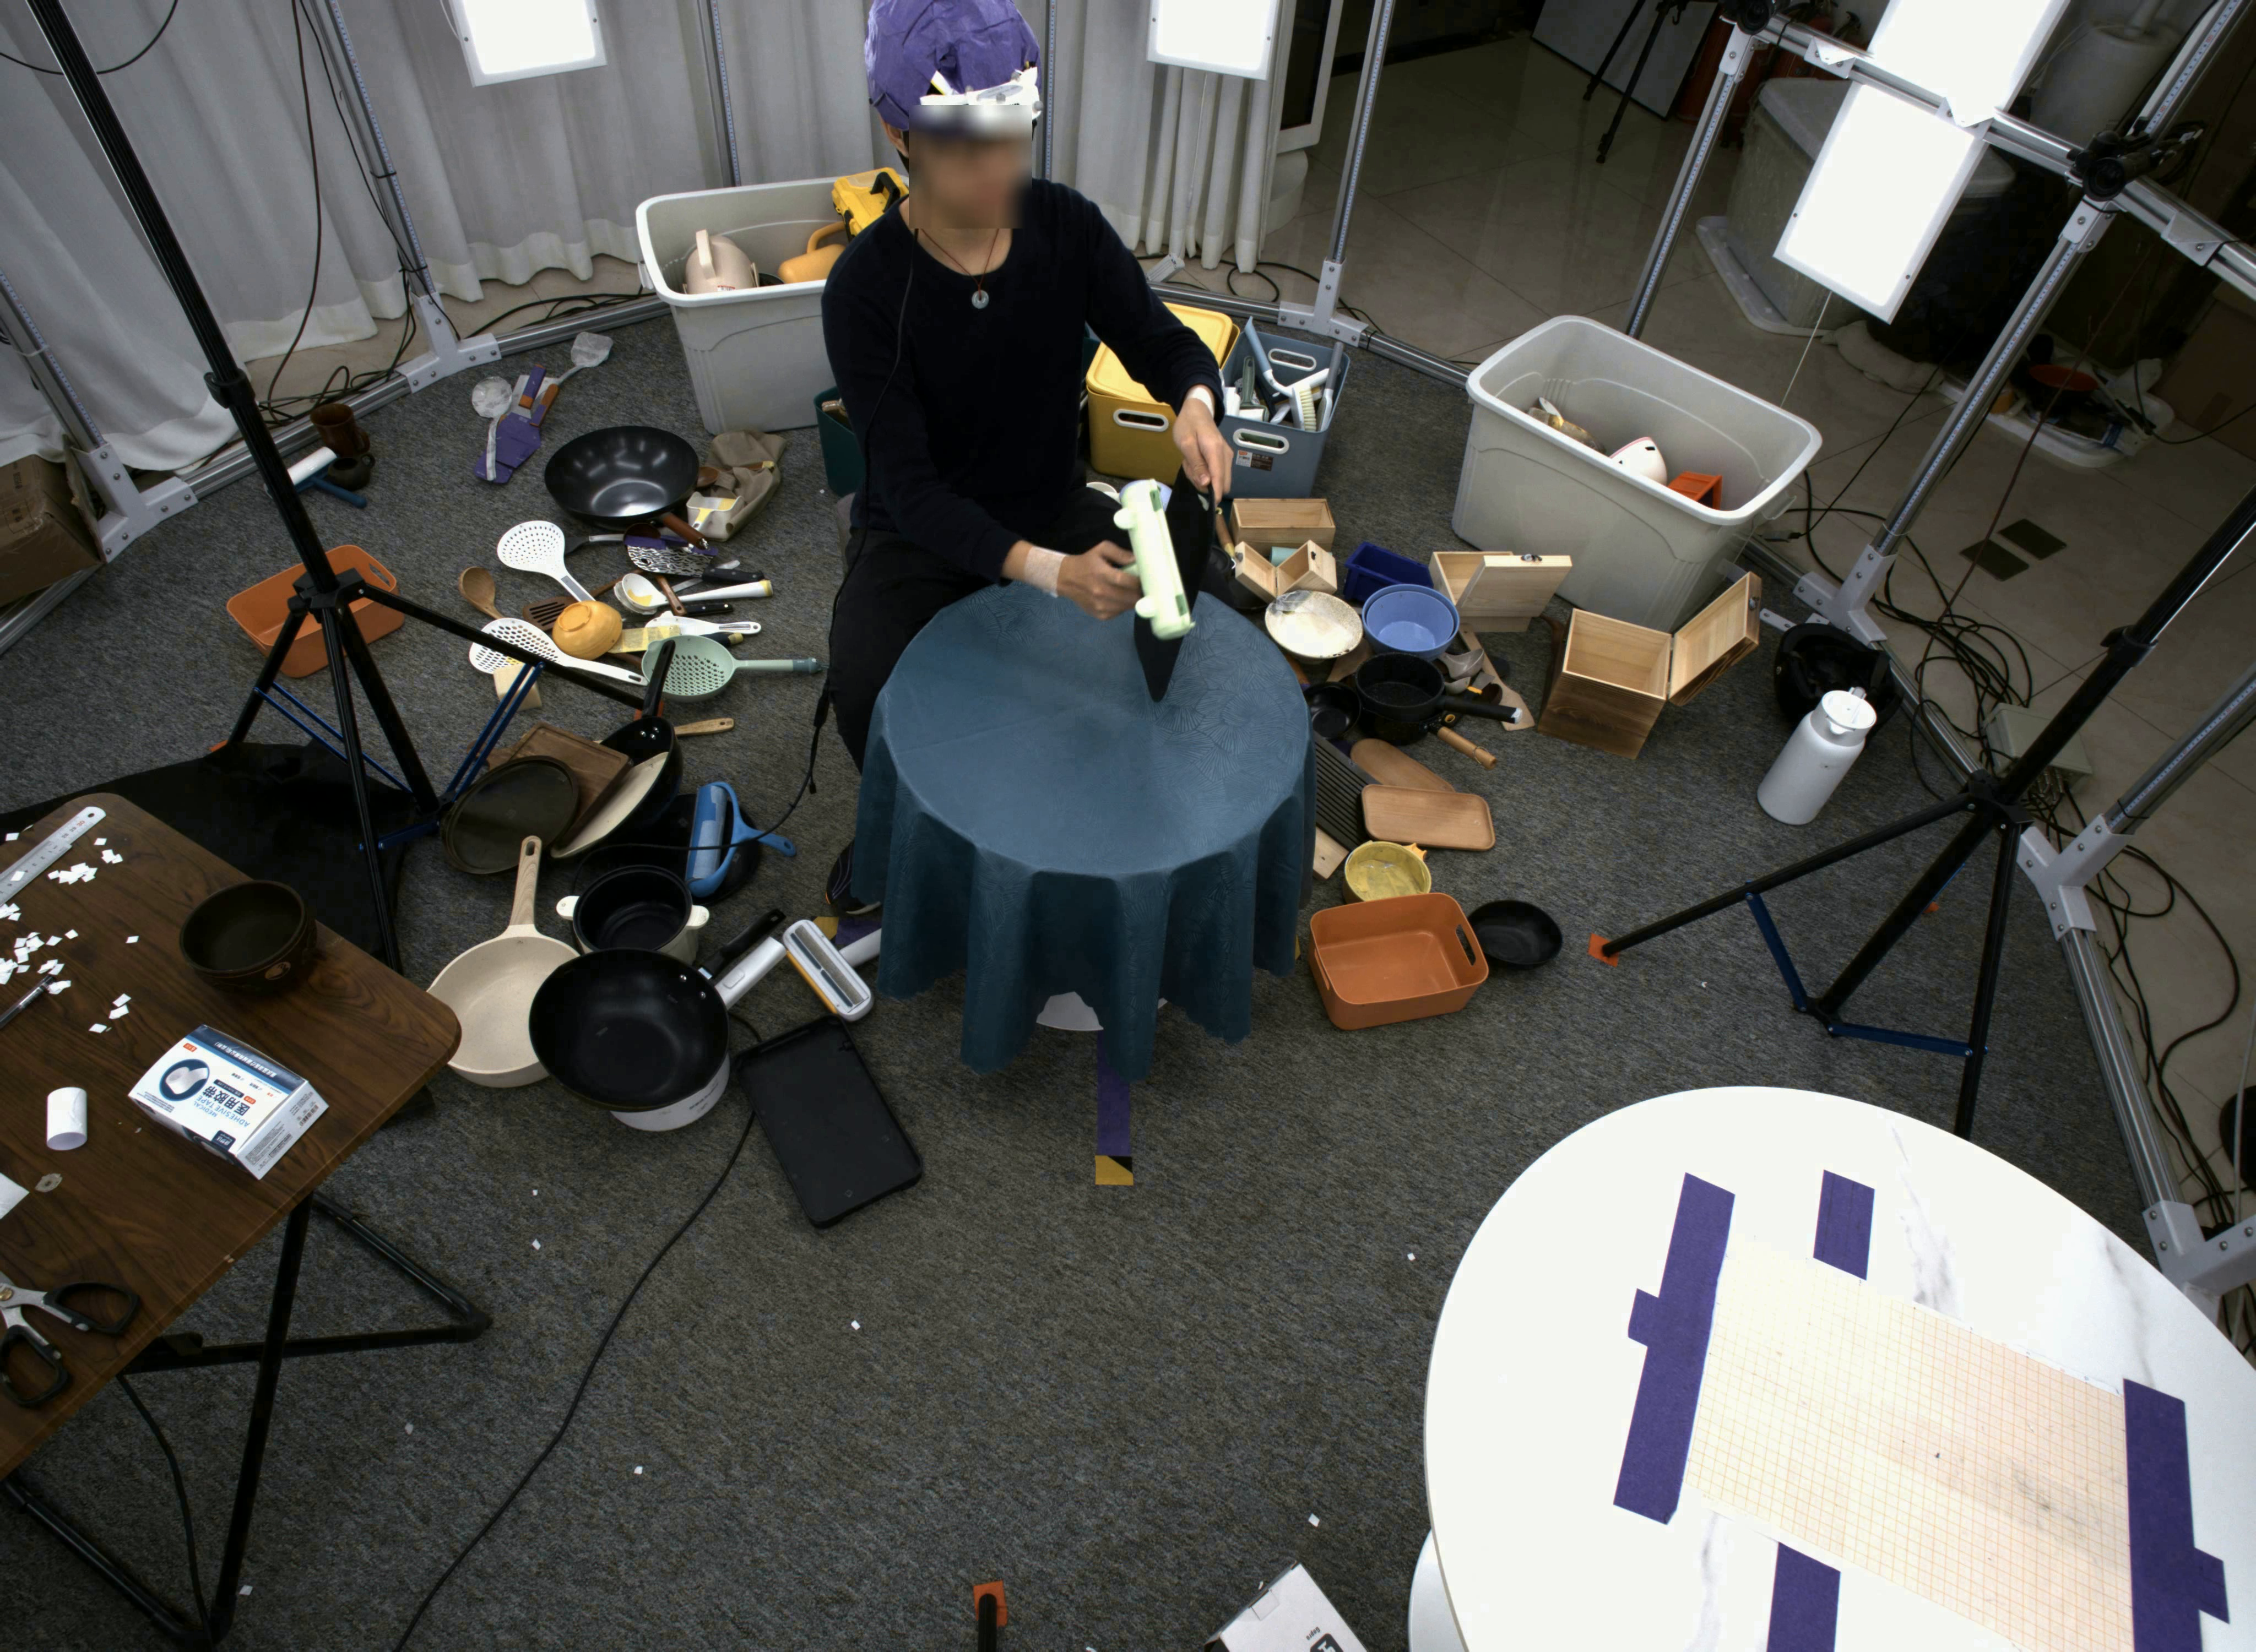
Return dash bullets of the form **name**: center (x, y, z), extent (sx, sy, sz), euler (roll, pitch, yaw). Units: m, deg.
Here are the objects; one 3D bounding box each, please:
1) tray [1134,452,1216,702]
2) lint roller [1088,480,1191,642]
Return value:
- **tray**: center (0.063, -0.342, 1.756), extent (0.010, 0.318, 0.216), euler (4, 41, -17)
- **lint roller**: center (-0.009, -0.320, 1.656), extent (0.082, 0.182, 0.199), euler (-7, 83, -46)
